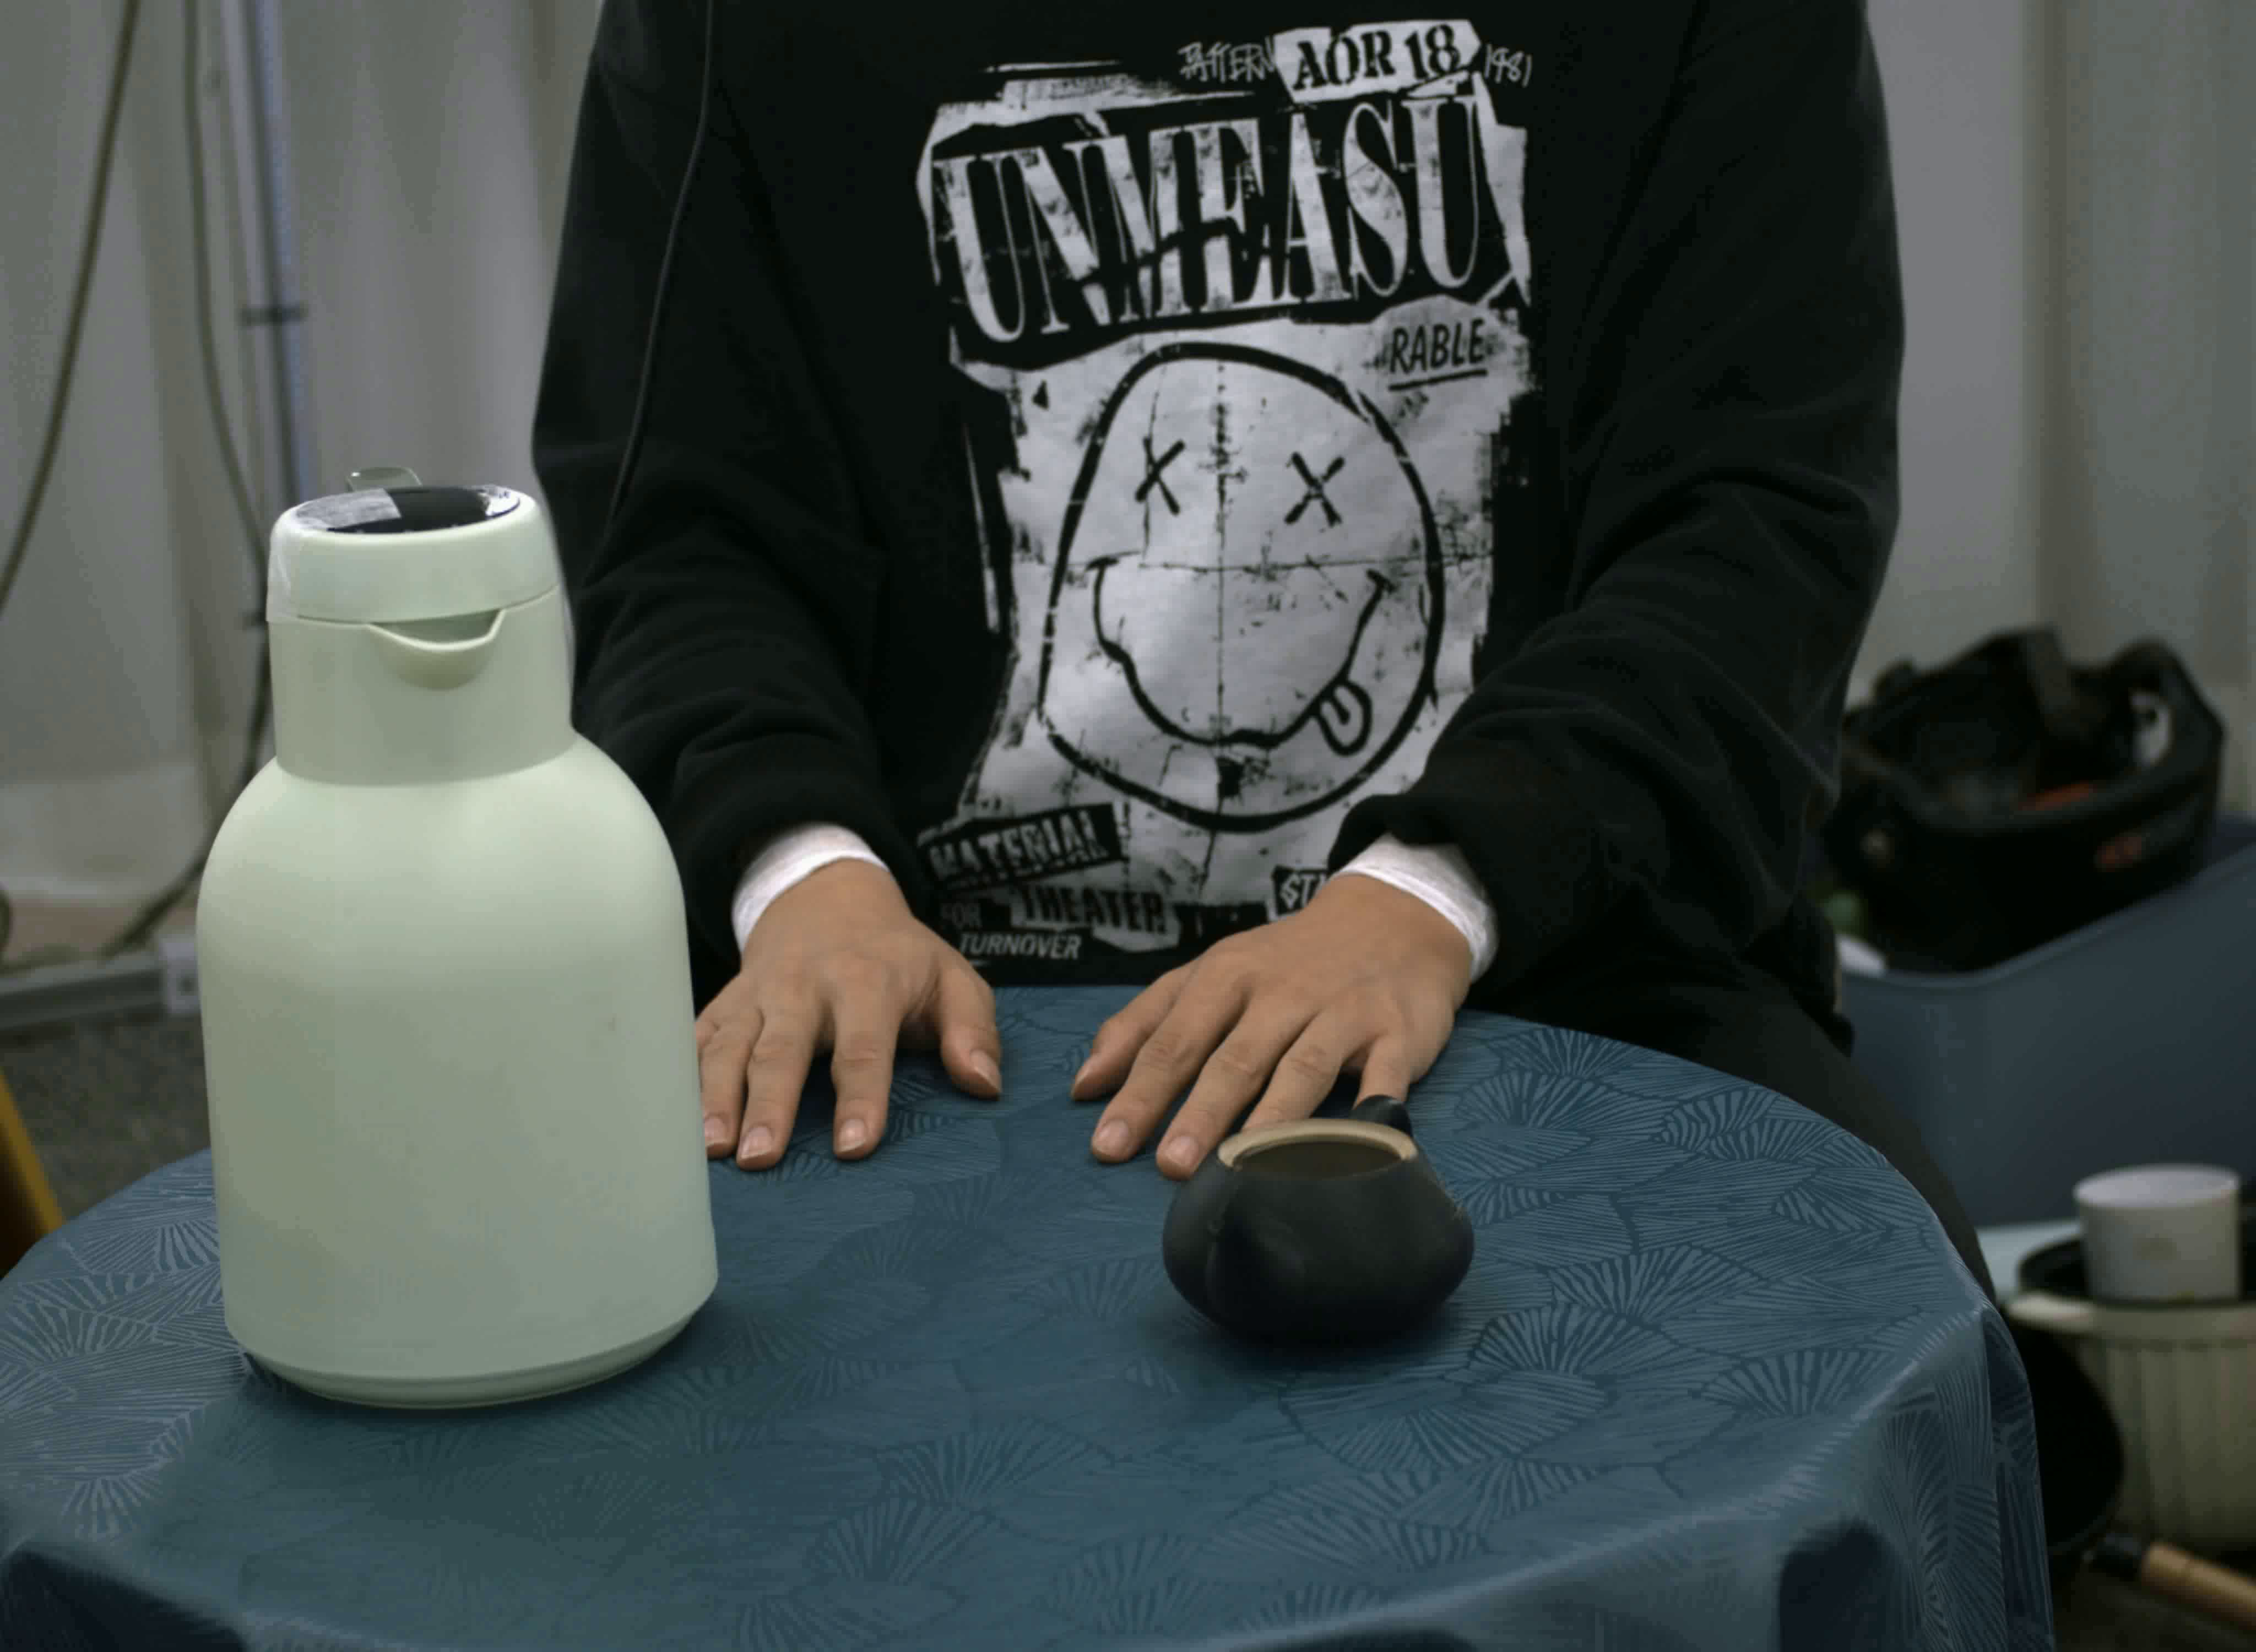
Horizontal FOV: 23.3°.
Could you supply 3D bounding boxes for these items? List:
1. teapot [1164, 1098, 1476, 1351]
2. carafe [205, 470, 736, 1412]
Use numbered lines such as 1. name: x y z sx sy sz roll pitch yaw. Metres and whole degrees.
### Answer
1. teapot: 0.056 0.119 1.586 0.091 0.053 0.133 6 17 24
2. carafe: -0.200 0.028 1.599 0.143 0.256 0.188 -8 11 -15
